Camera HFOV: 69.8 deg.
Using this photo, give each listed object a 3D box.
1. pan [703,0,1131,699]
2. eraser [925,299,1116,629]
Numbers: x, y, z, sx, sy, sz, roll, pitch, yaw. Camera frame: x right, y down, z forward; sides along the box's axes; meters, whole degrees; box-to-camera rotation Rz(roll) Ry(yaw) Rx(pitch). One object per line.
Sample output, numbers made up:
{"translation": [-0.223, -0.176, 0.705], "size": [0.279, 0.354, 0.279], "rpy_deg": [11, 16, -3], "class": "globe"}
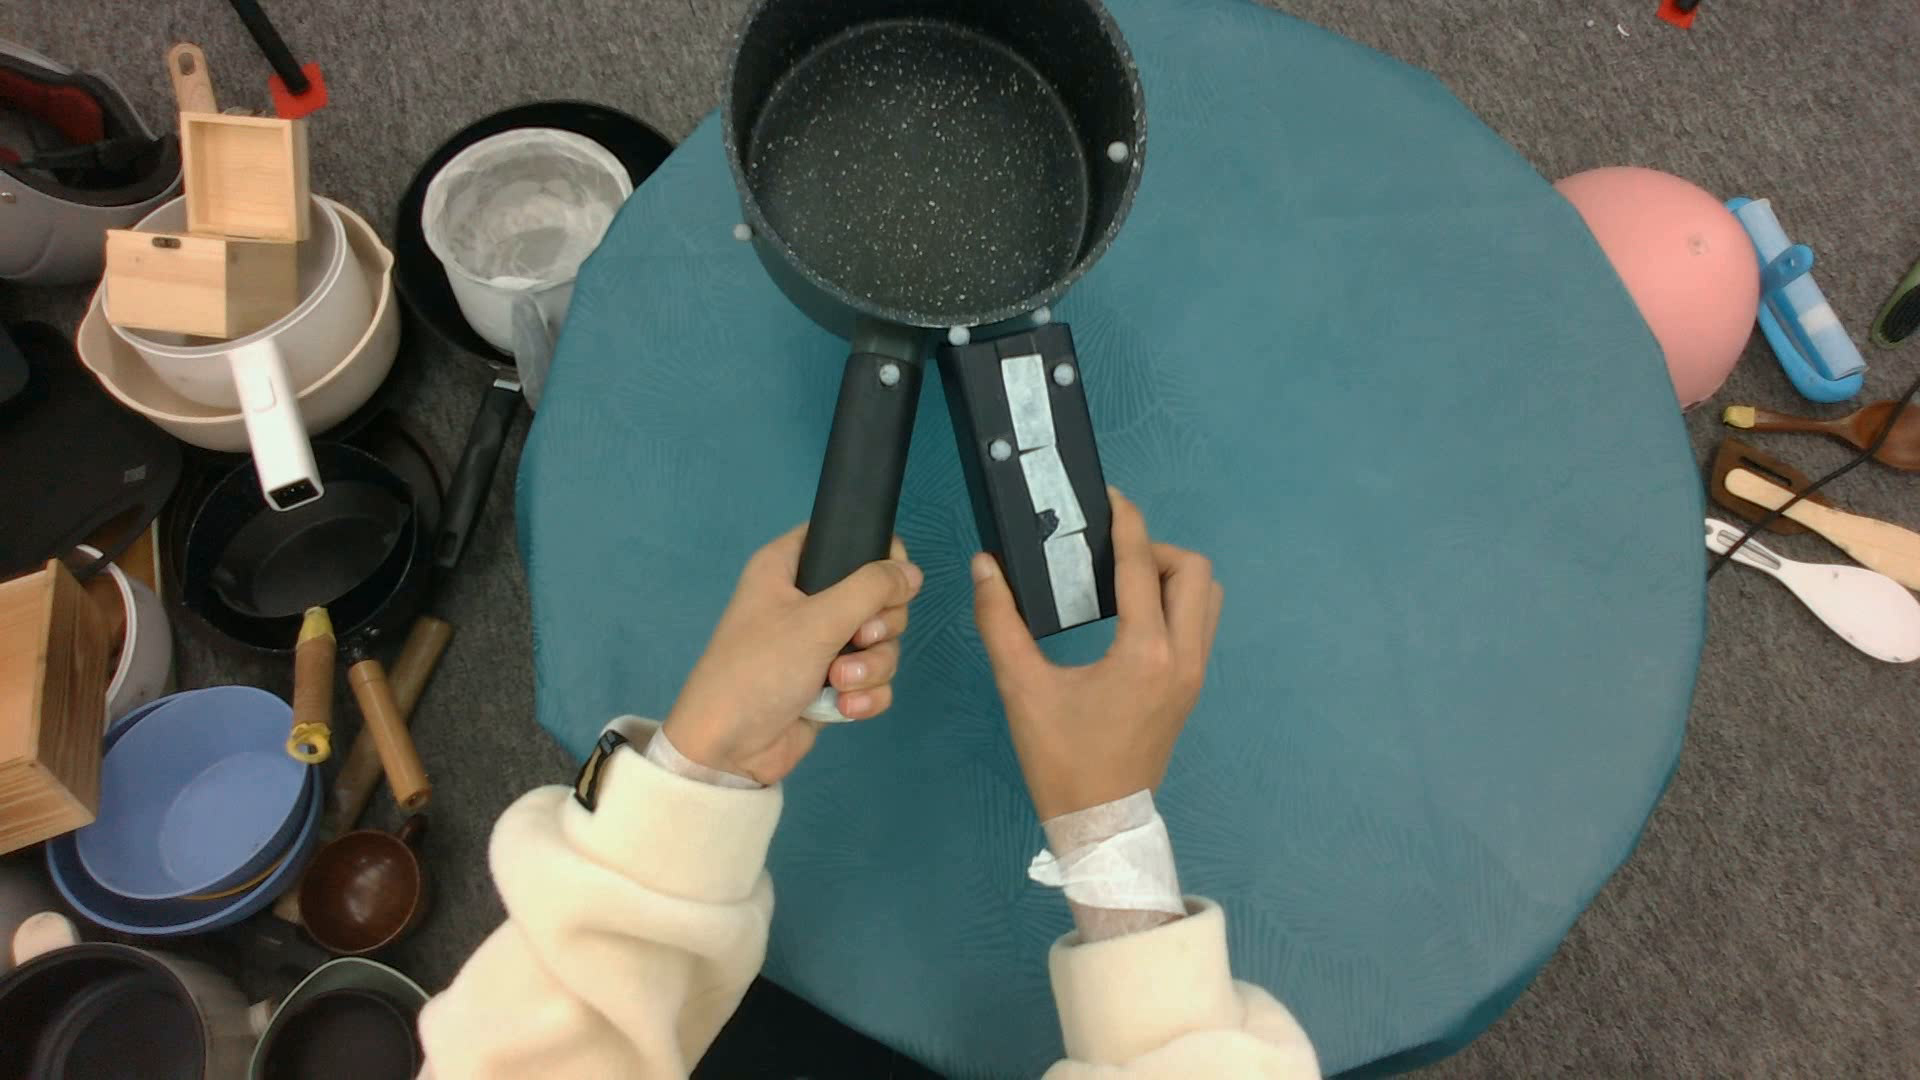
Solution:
{"translation": [-0.037, -0.095, 0.570], "size": [0.172, 0.086, 0.329], "rpy_deg": [14, 79, -5], "class": "pan"}
{"translation": [0.024, -0.030, 0.557], "size": [0.053, 0.030, 0.125], "rpy_deg": [-15, 99, -13], "class": "eraser"}
